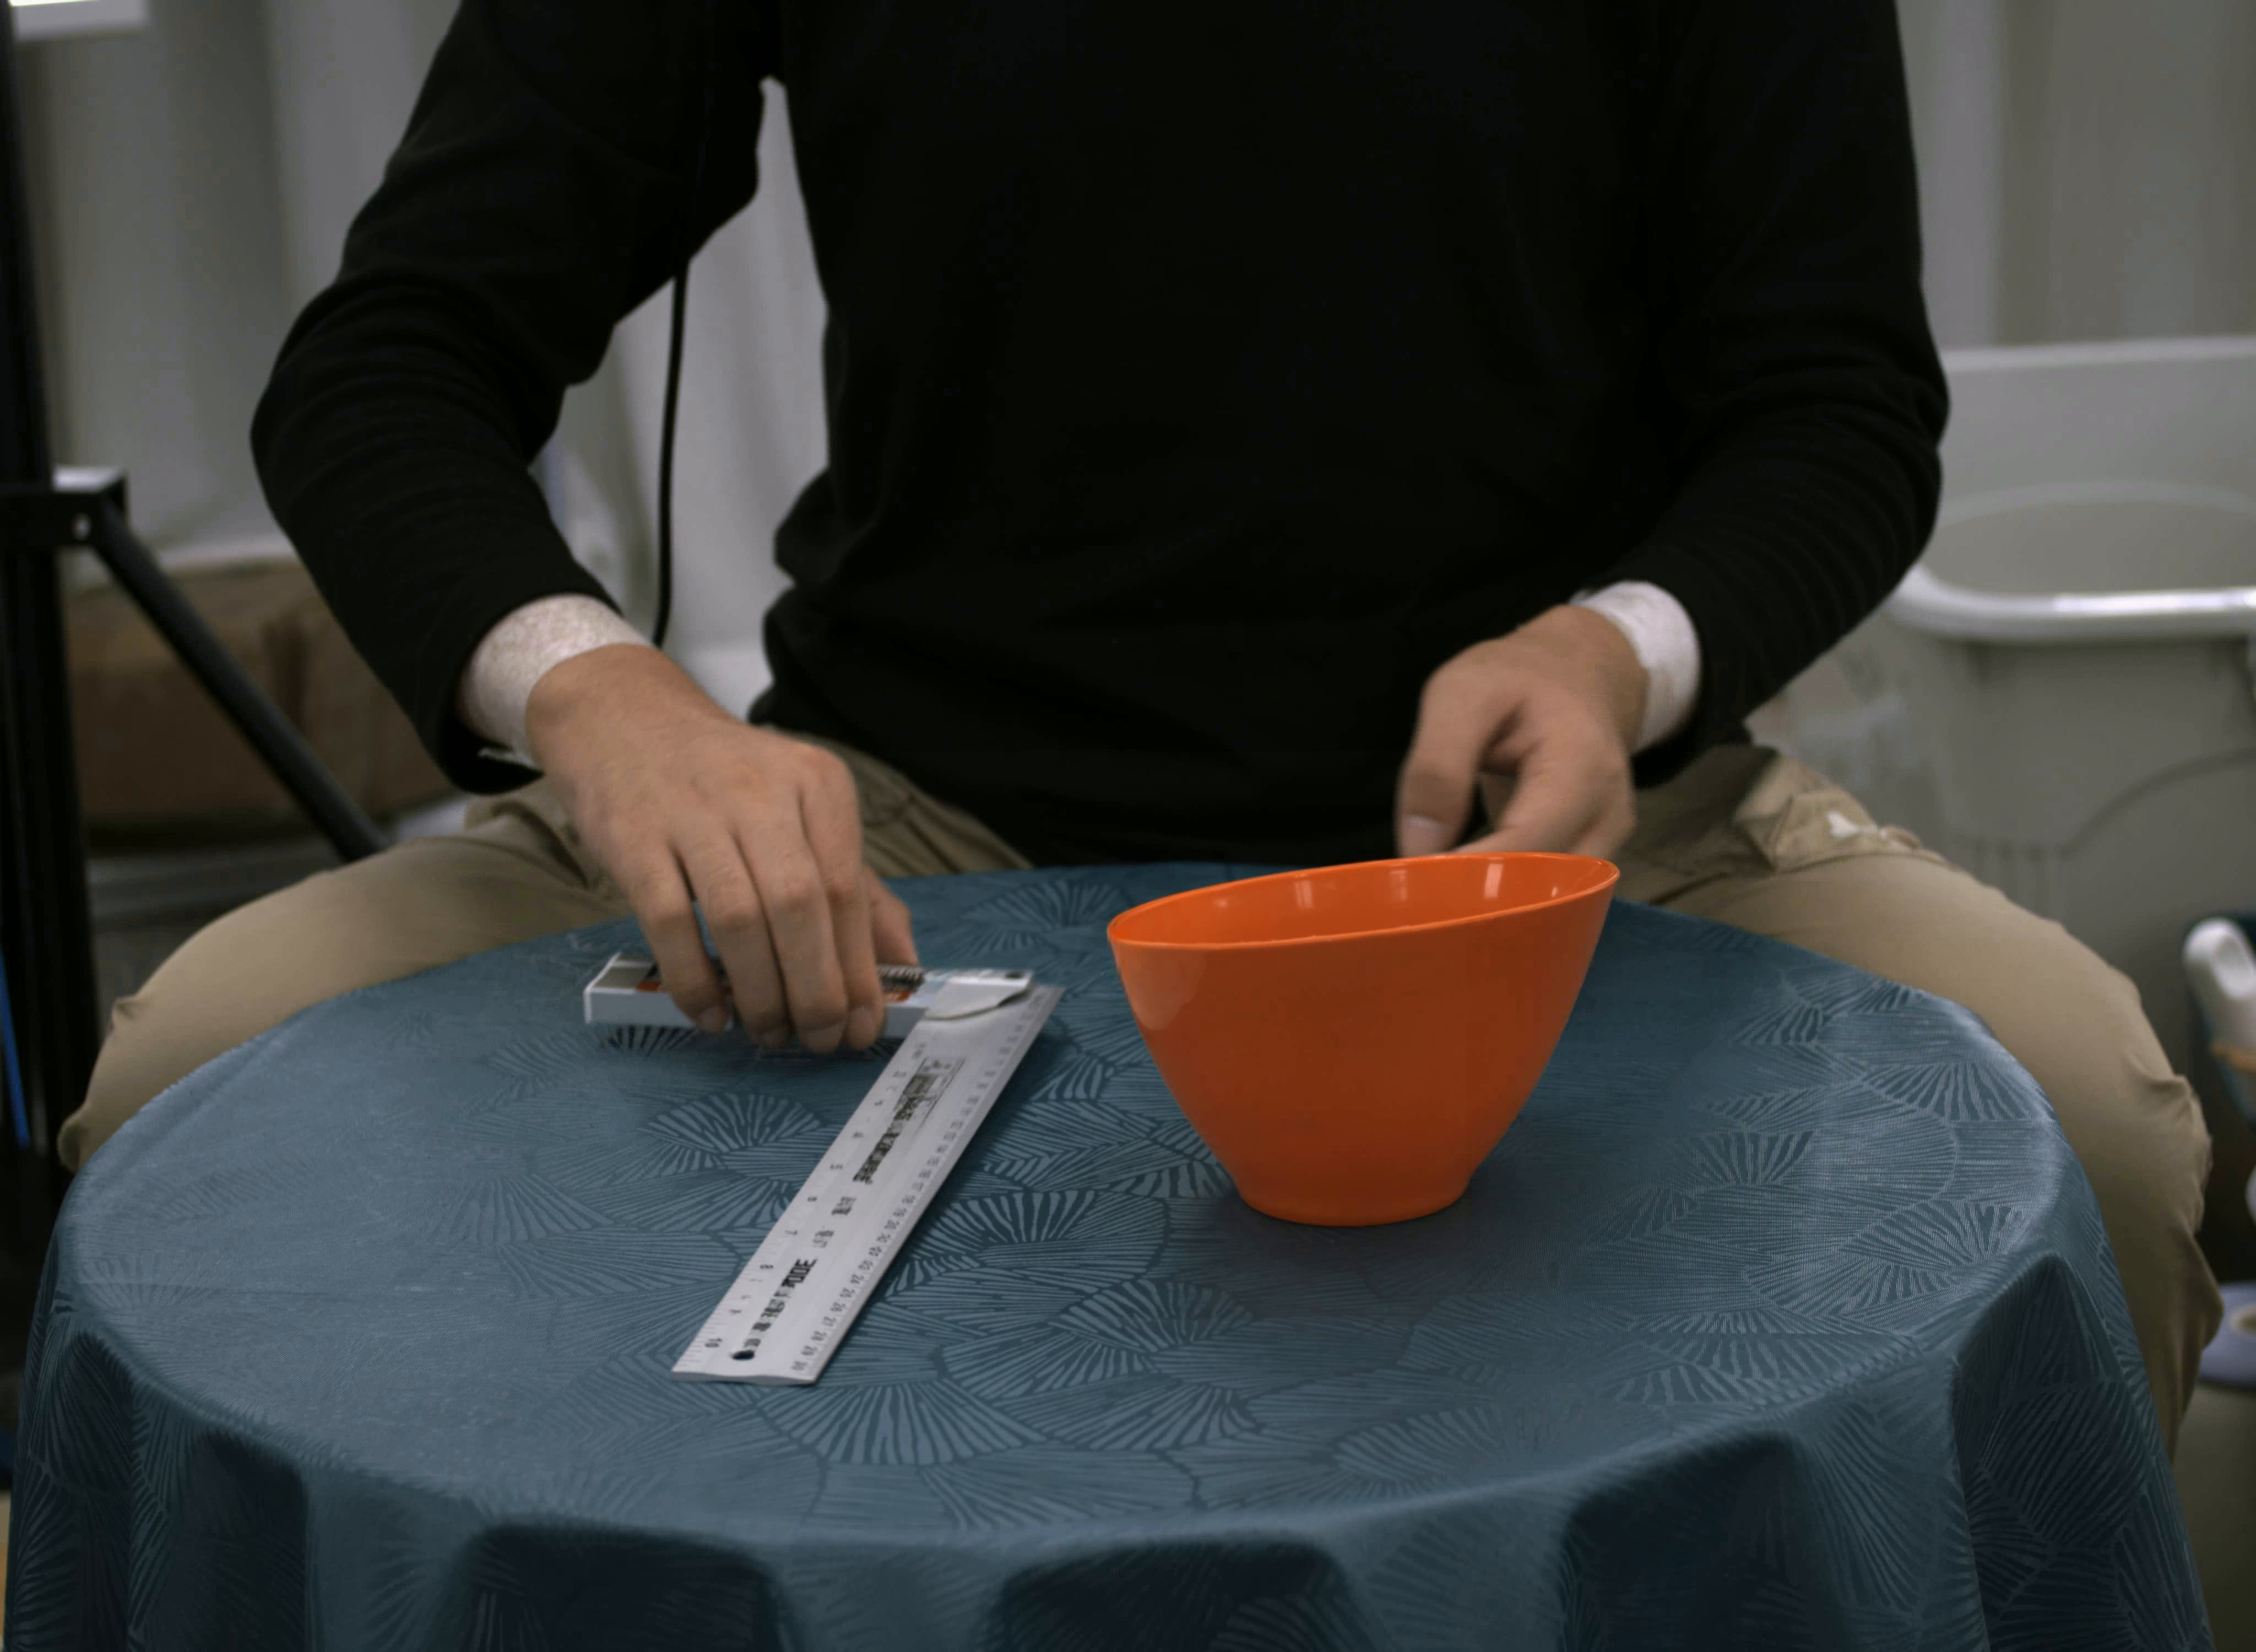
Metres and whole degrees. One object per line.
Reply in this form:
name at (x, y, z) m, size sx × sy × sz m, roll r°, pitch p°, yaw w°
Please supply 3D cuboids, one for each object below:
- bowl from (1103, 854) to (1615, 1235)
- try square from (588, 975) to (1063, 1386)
bowl at (0.068, 0.062, 1.527) m, size 0.147 × 0.104 × 0.149 m, roll -4°, pitch 15°, yaw 0°
try square at (-0.123, 0.103, 1.583) m, size 0.153 × 0.016 × 0.311 m, roll -3°, pitch 18°, yaw 13°
